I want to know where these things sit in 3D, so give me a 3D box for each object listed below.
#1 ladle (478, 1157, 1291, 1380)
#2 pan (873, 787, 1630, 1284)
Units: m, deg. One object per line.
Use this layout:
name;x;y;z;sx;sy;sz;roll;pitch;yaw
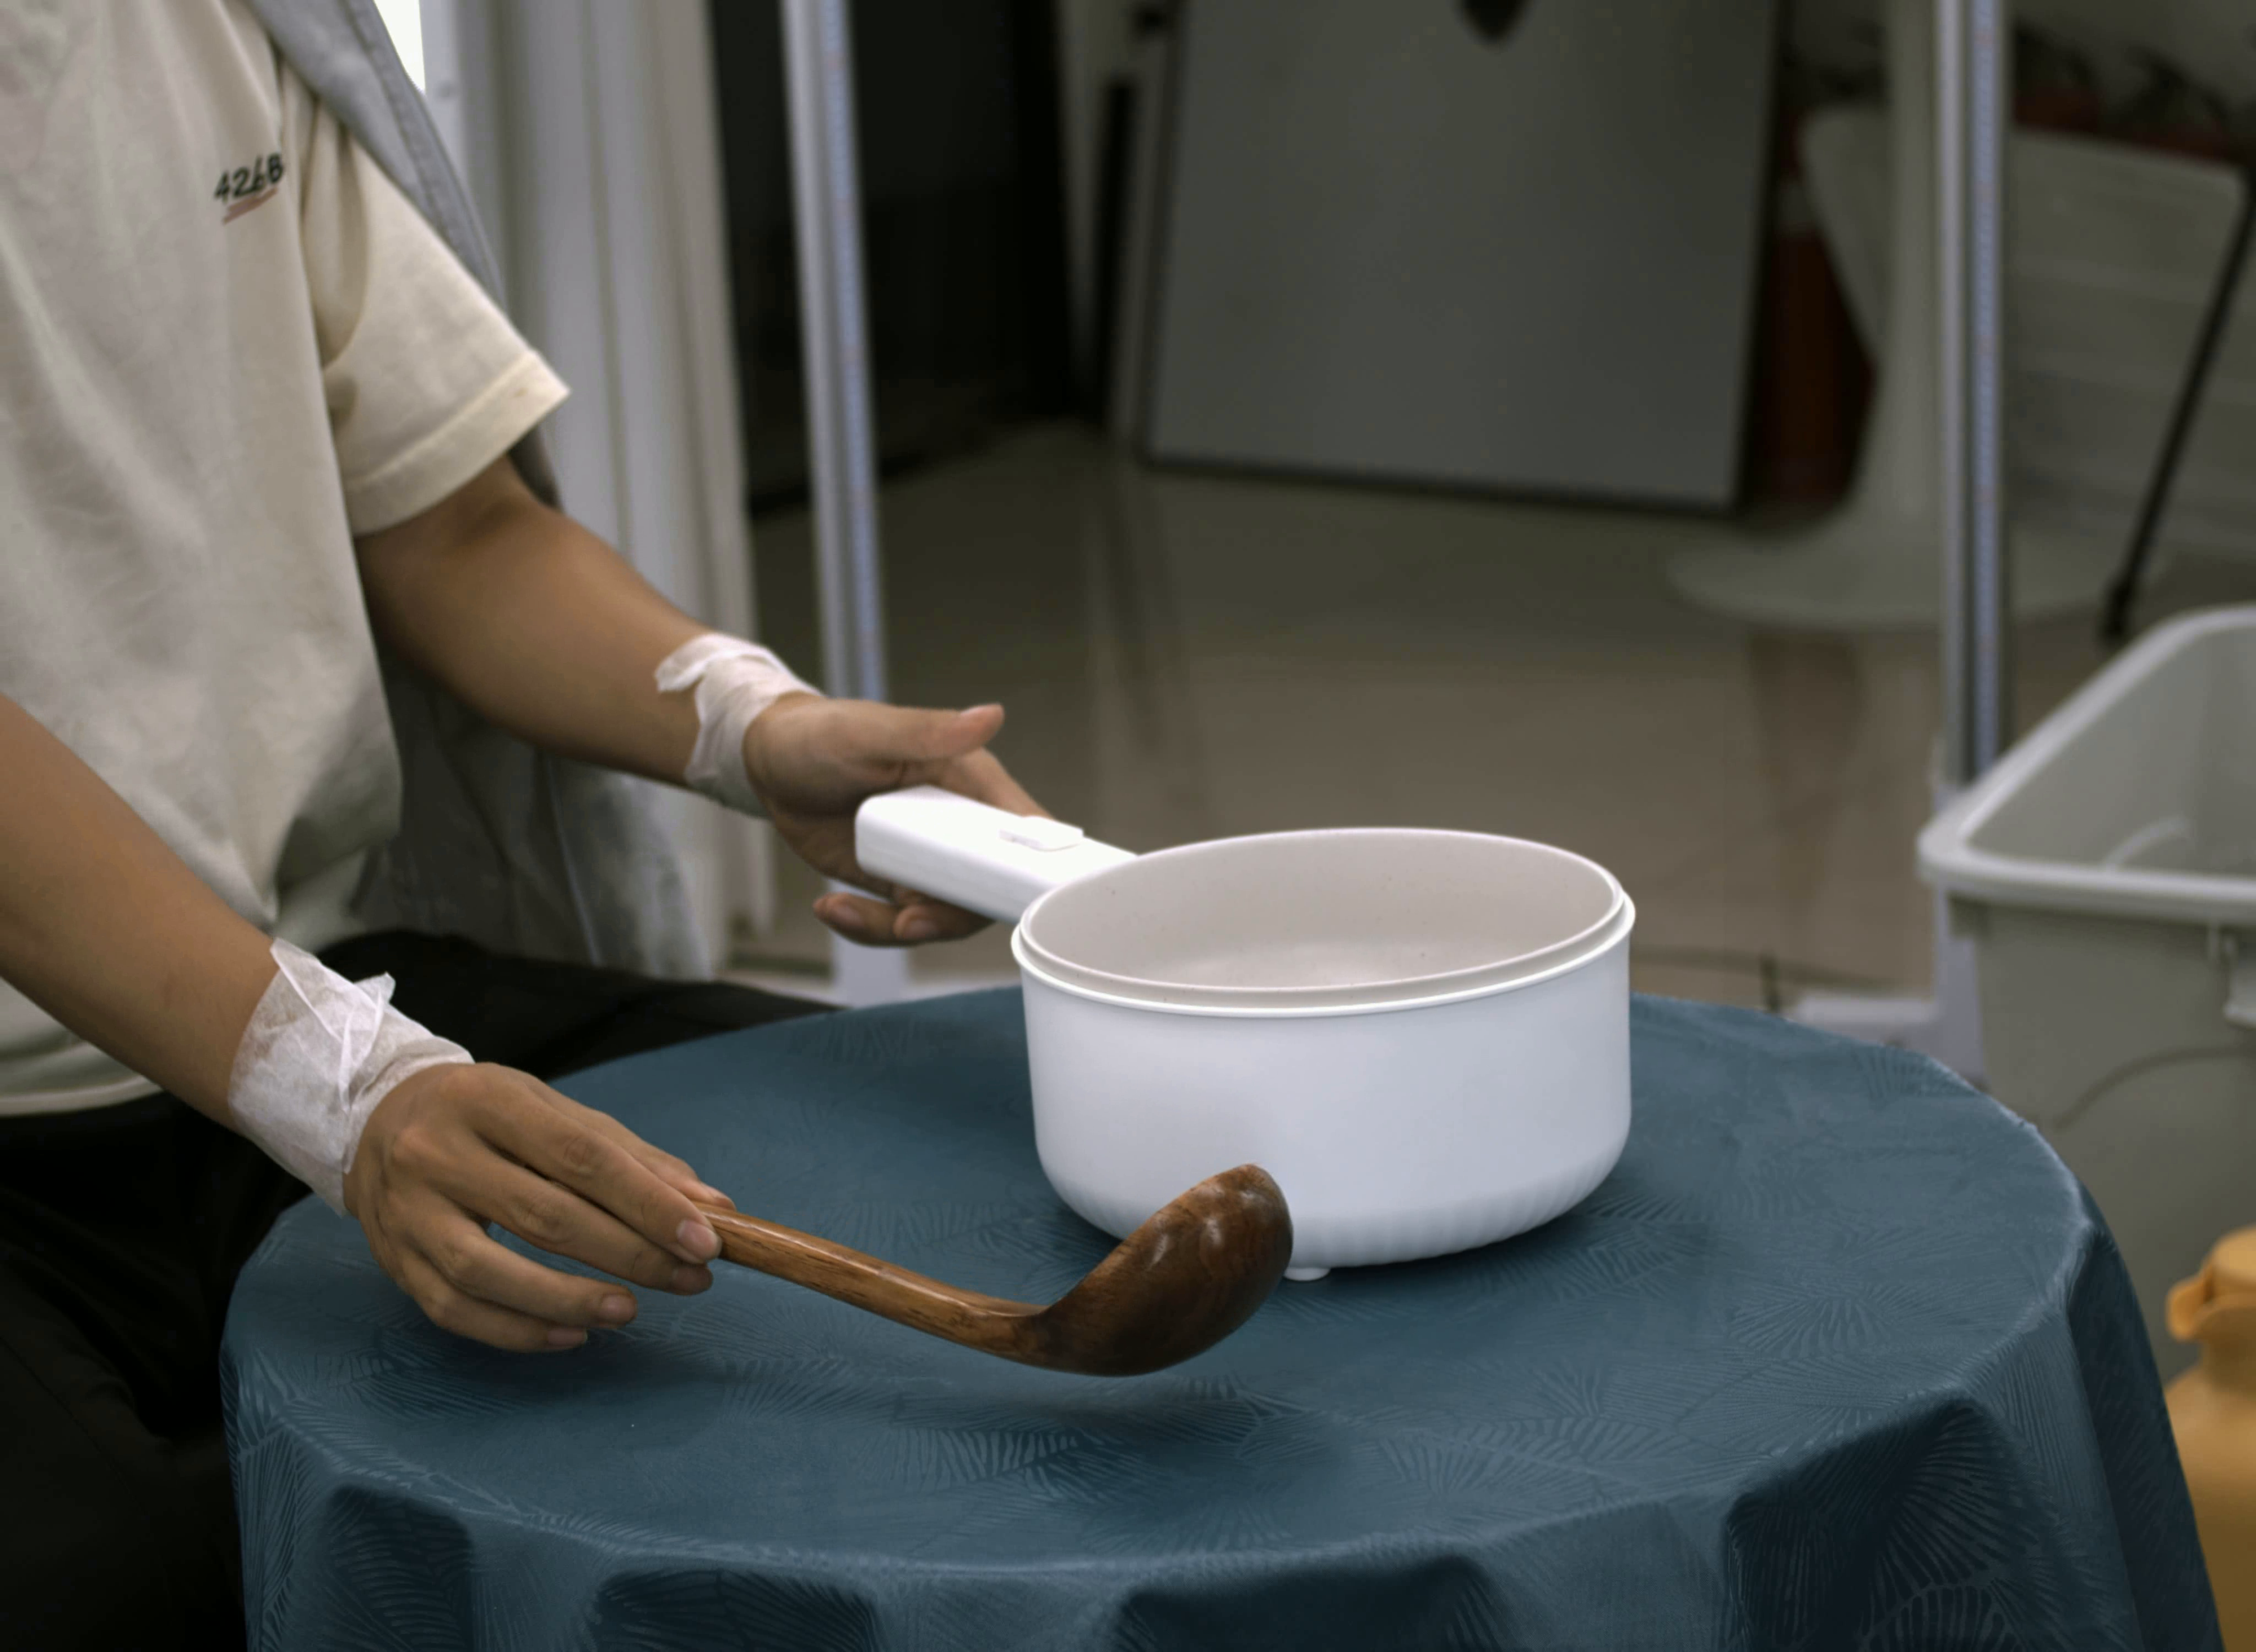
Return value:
ladle;-0.077;0.107;1.603;0.275;0.077;0.080;14;1;31
pan;0.022;0.062;1.800;0.197;0.103;0.358;-13;16;-31
